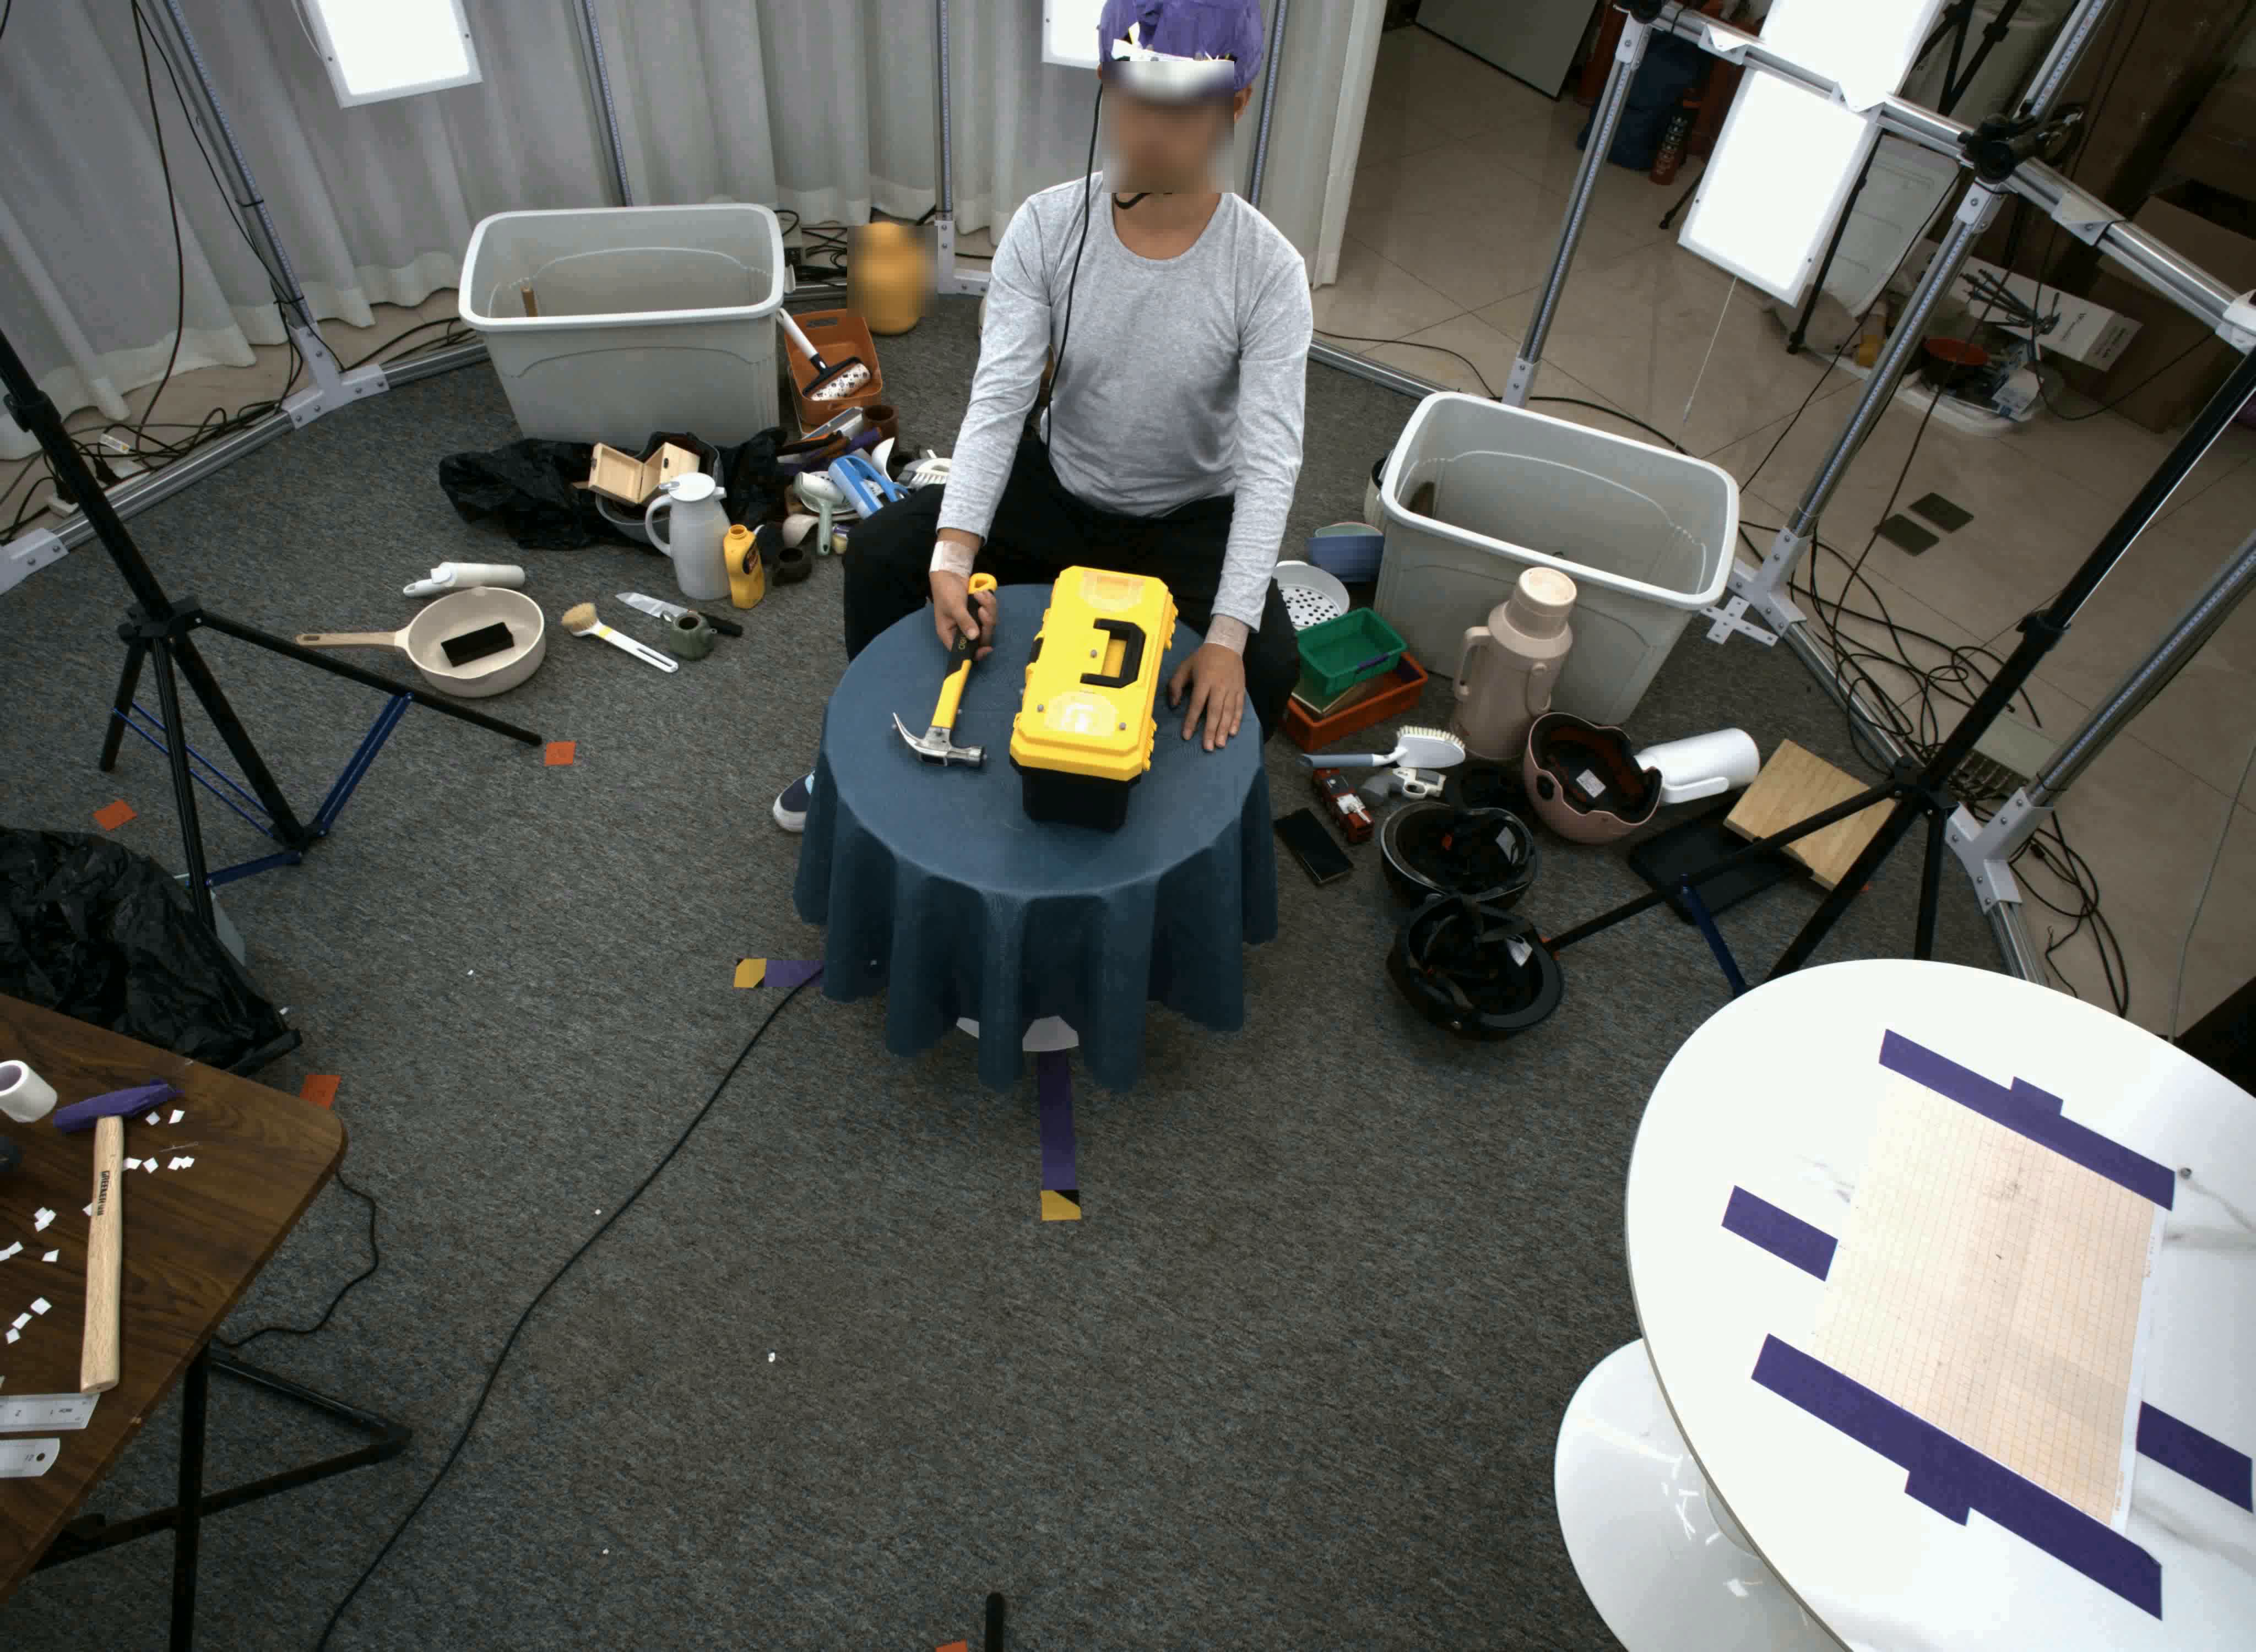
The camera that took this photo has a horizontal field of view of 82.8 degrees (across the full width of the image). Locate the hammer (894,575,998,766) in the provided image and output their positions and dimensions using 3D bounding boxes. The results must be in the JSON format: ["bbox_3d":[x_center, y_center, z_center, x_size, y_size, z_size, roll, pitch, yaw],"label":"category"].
[{"bbox_3d":[-0.236,-0.229,1.819,0.131,0.031,0.346,7,54,5],"label":"hammer"}]

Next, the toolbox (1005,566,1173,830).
[{"bbox_3d":[-0.046,-0.173,1.712,0.181,0.168,0.360,9,49,3],"label":"toolbox"}]
